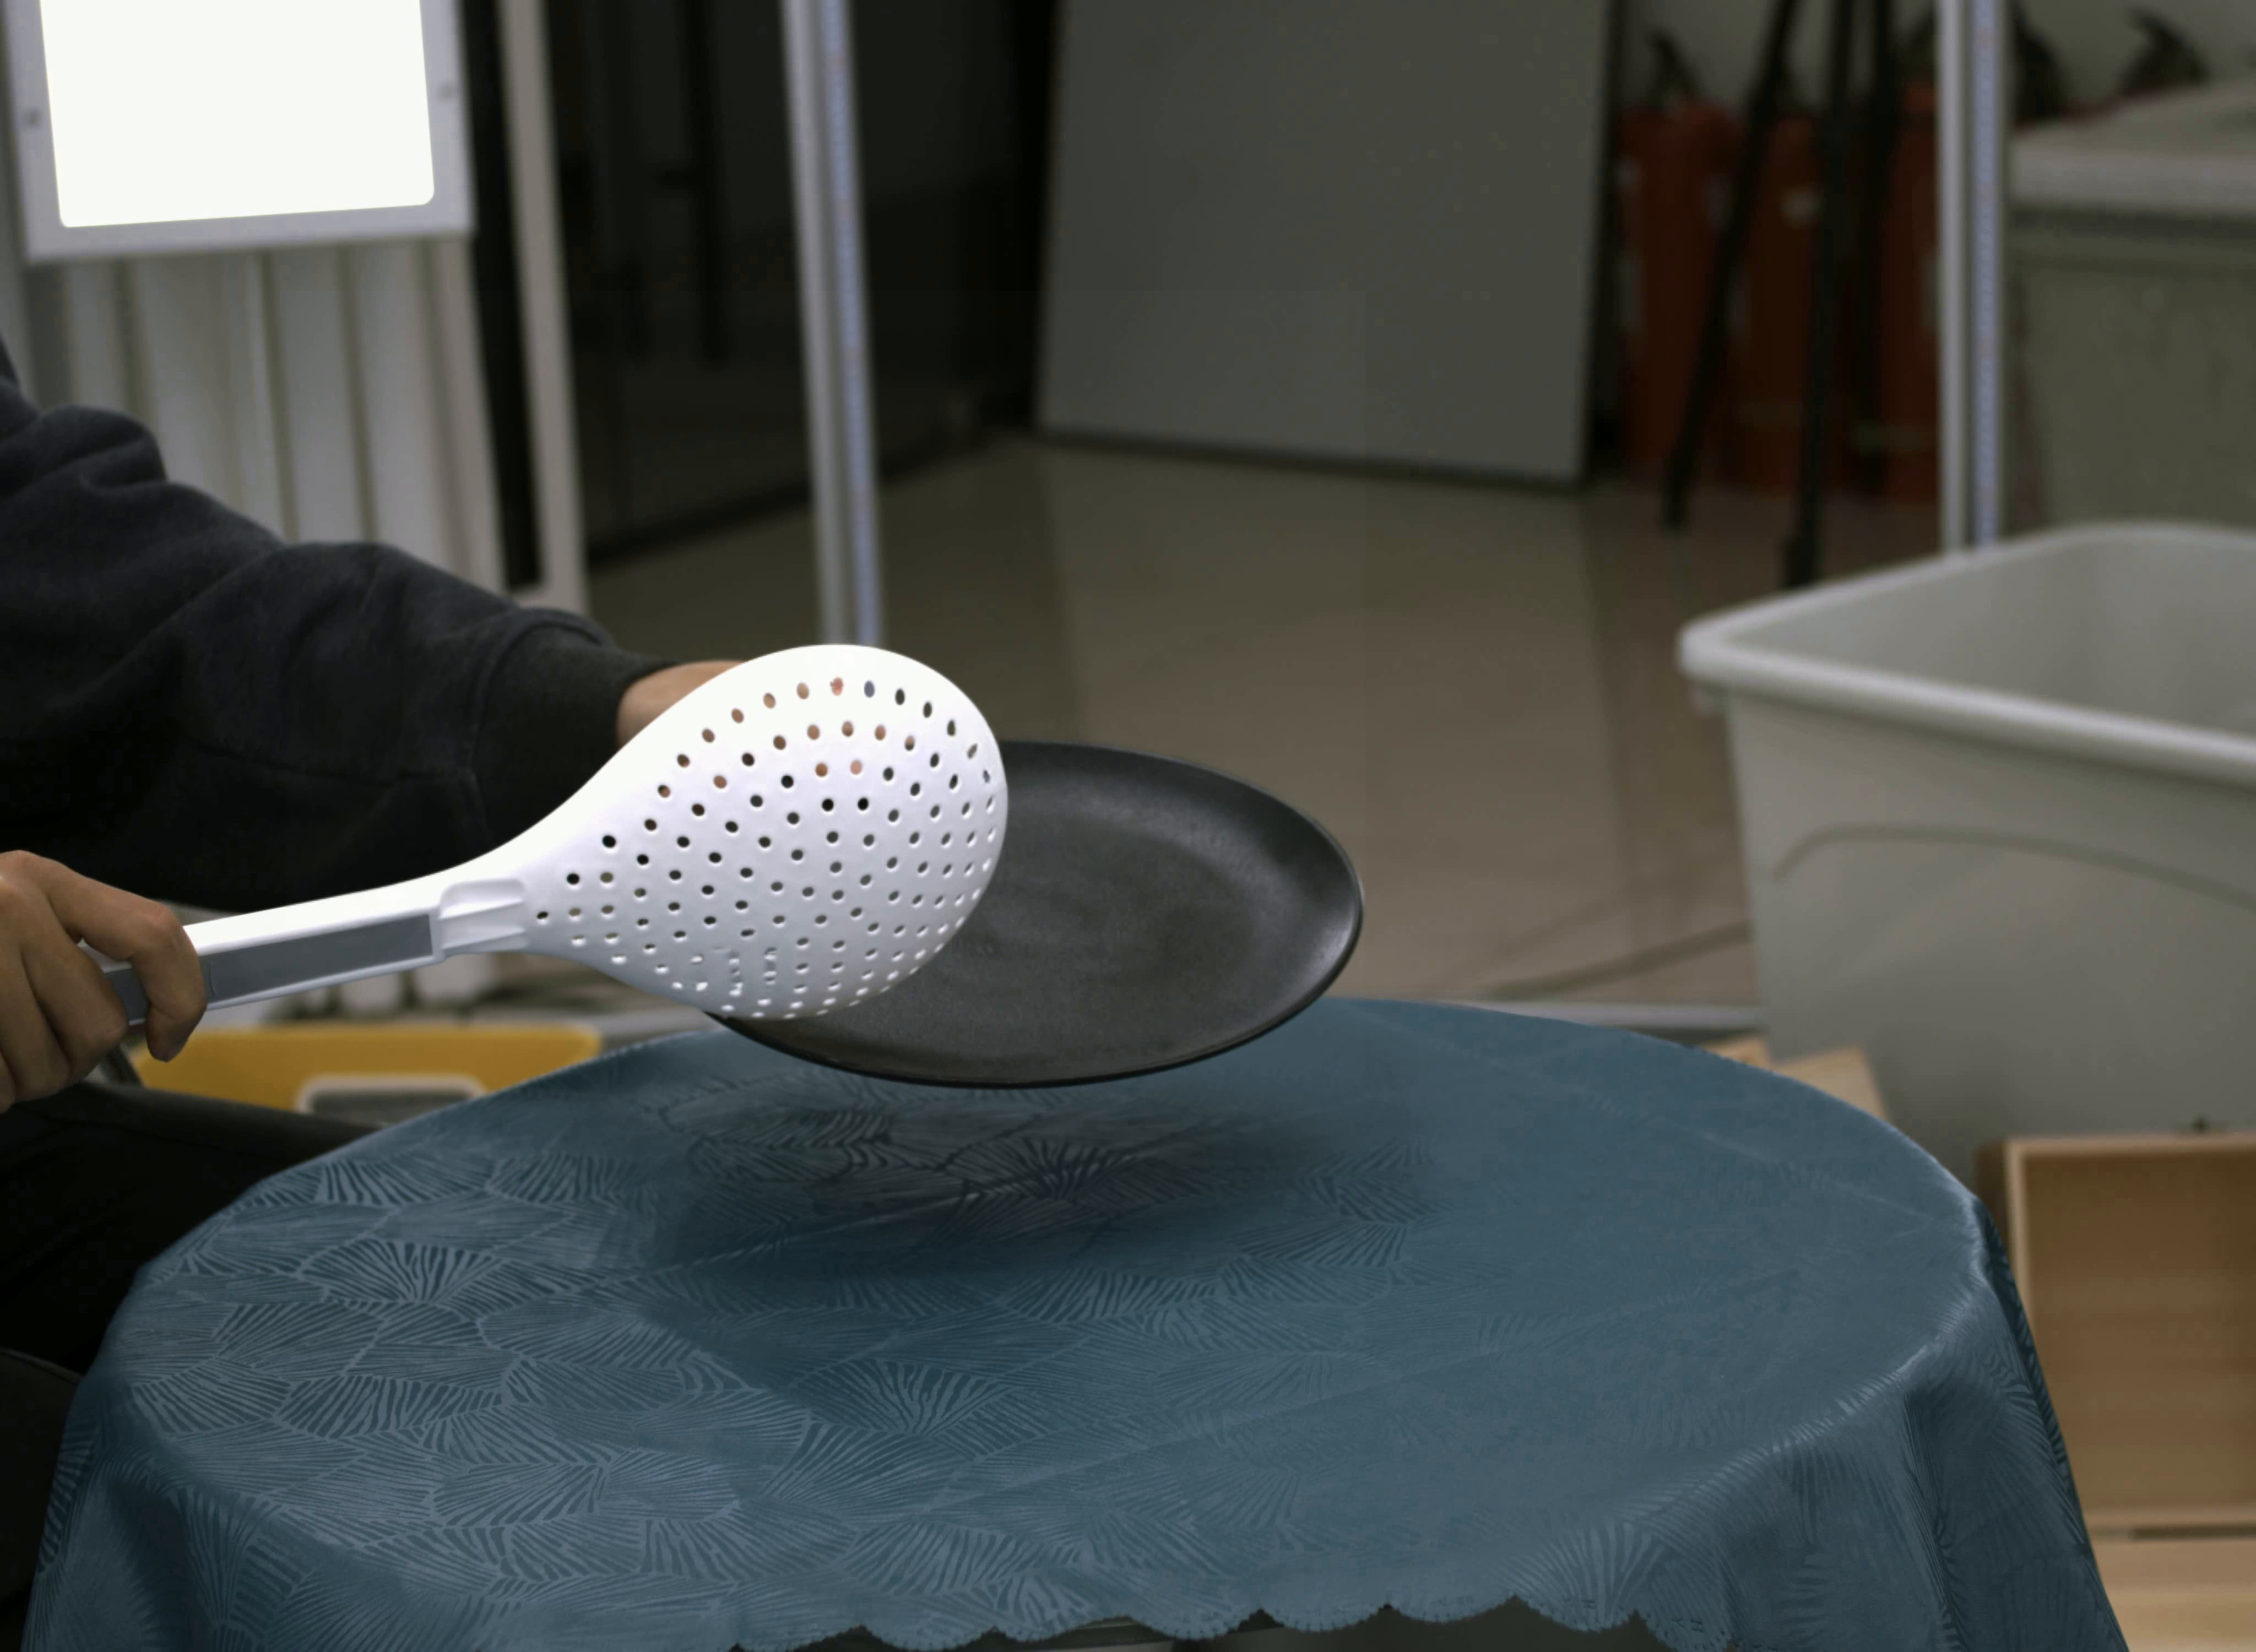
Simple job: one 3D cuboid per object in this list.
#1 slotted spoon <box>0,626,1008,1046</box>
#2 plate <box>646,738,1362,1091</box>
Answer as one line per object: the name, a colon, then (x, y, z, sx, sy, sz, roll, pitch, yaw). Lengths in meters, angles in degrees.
slotted spoon: (-0.200, 0.023, 1.667, 0.343, 0.137, 0.046, -9, 29, -11)
plate: (-0.042, 0.034, 1.798, 0.241, 0.023, 0.245, -1, 27, 0)
